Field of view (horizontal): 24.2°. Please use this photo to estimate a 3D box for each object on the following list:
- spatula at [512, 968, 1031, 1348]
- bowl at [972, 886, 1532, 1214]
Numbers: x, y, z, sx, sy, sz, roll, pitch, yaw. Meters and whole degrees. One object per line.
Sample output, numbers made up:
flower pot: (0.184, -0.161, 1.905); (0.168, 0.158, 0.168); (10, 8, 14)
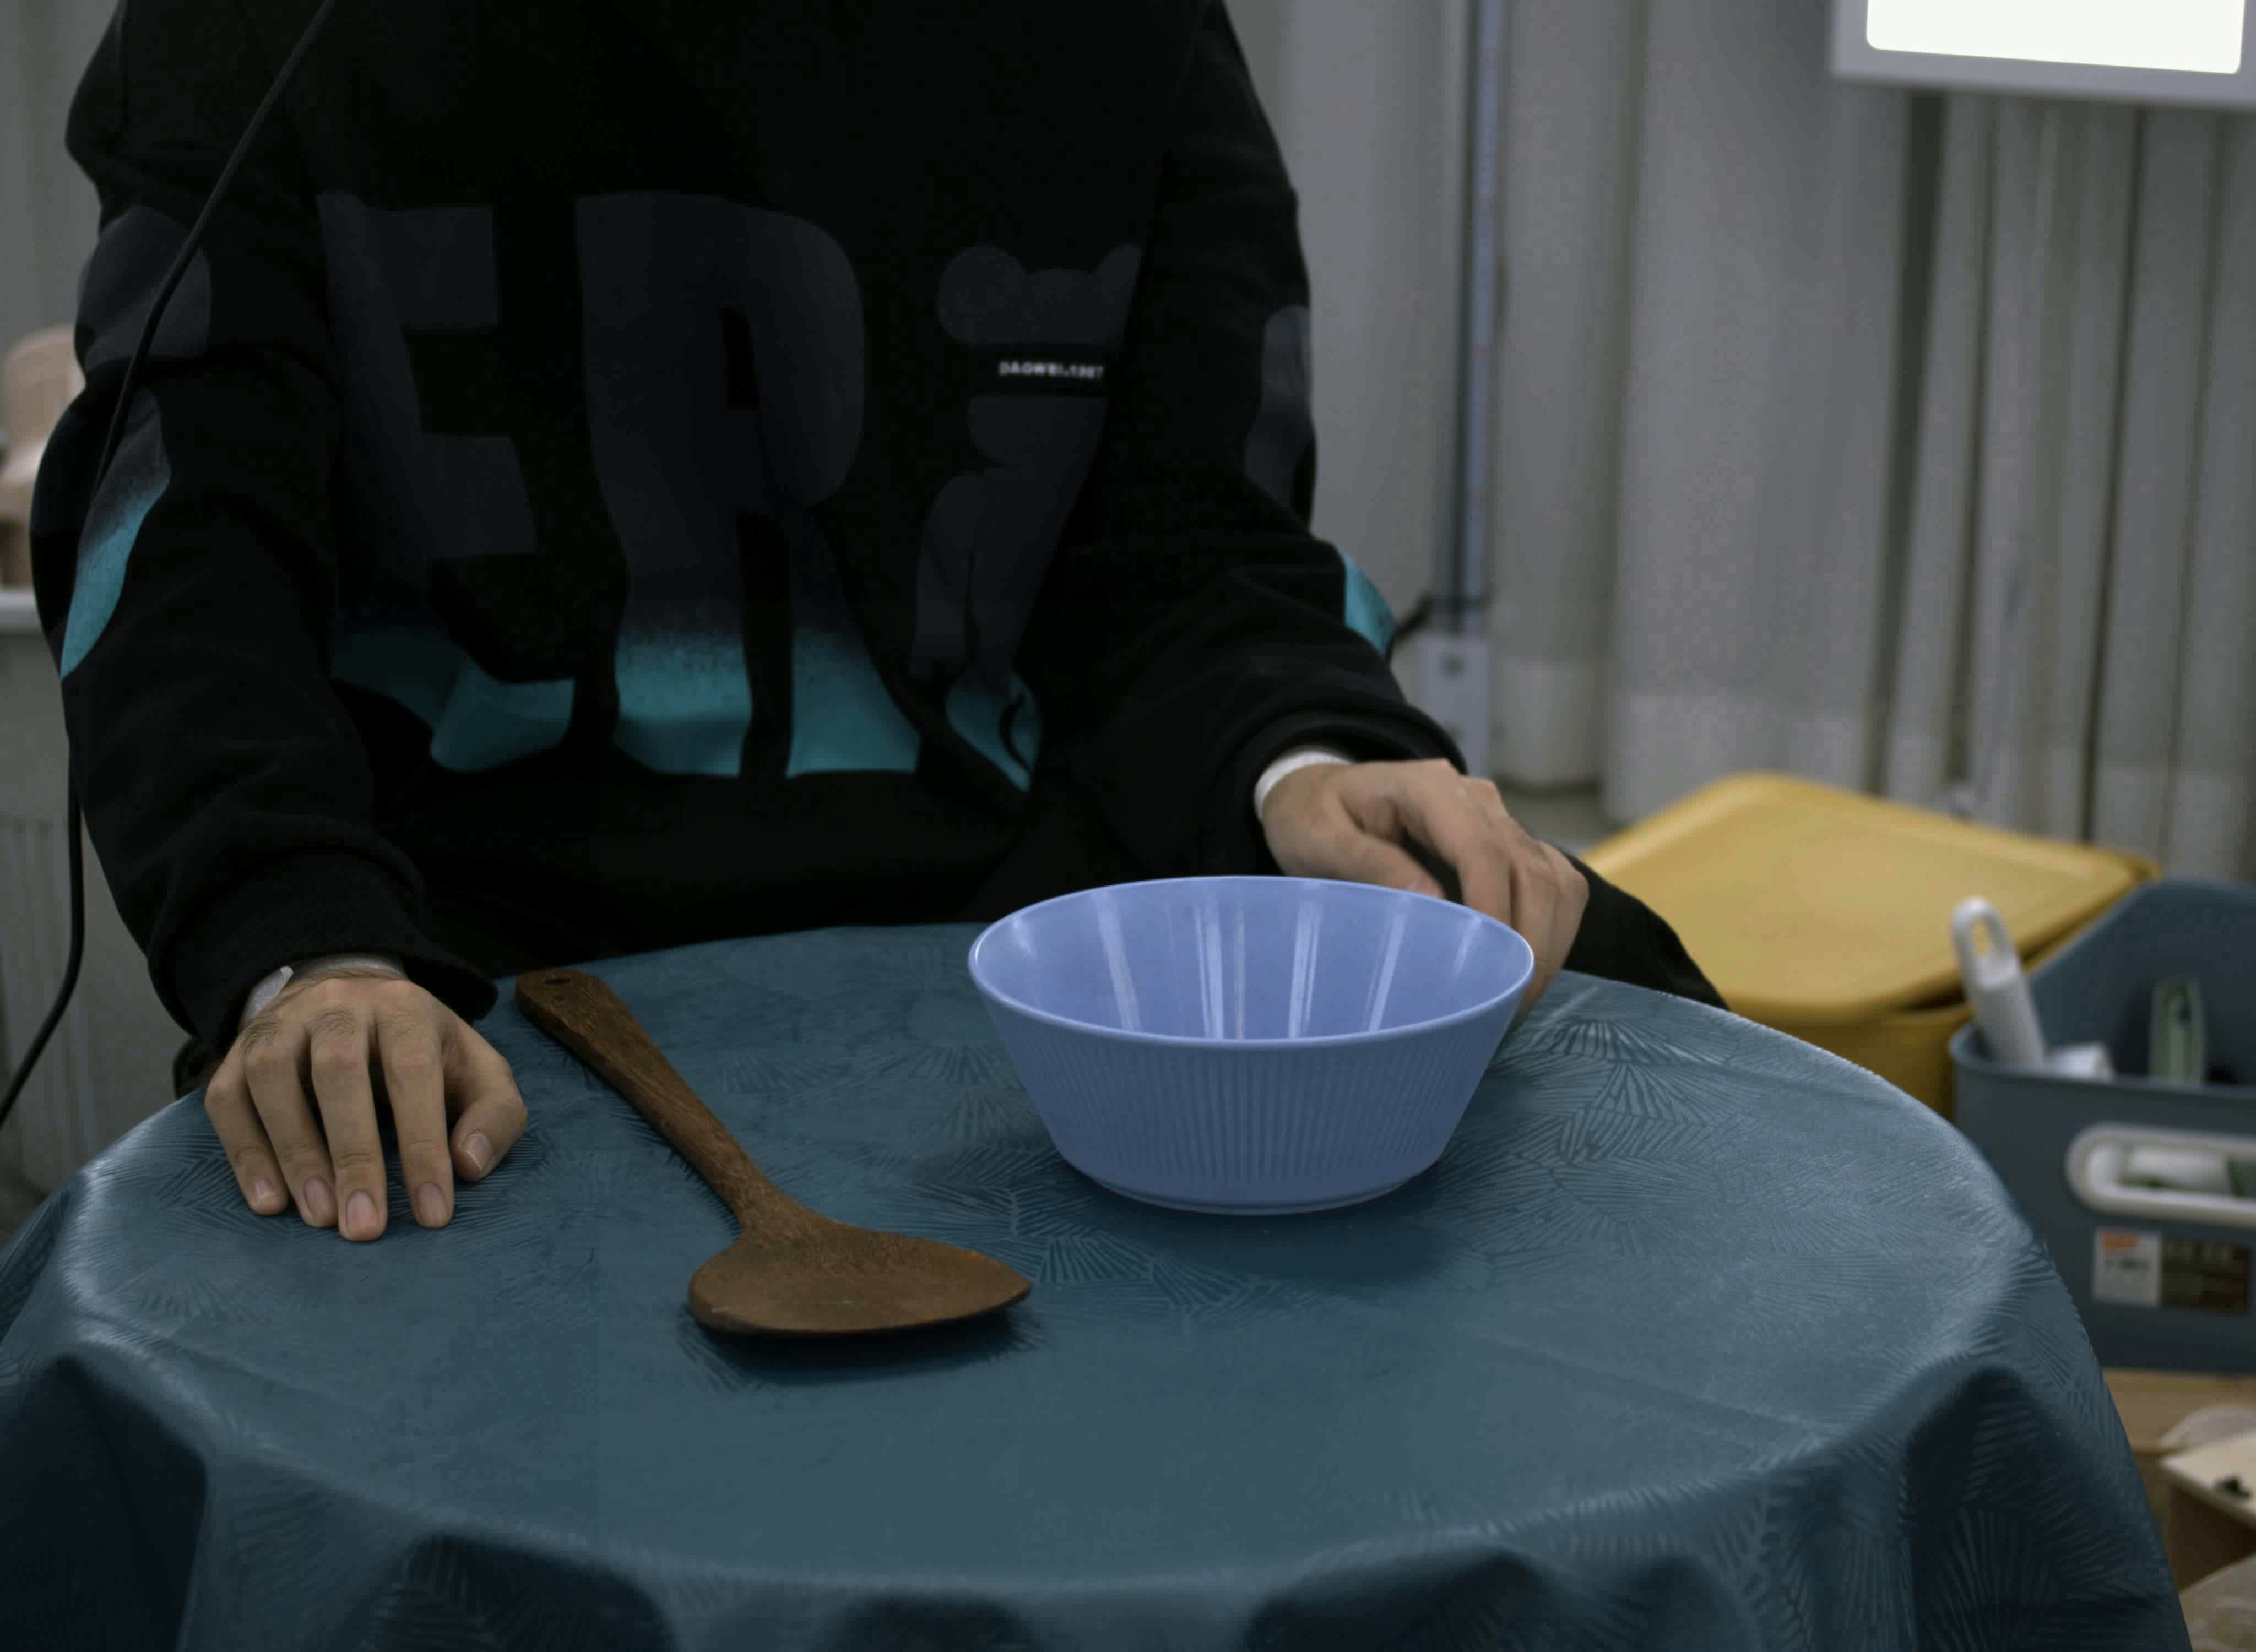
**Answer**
spatula: (-0.134, 0.098, 1.649); (0.096, 0.016, 0.381); (-5, 17, -21)
bowl: (0.039, 0.072, 1.645); (0.175, 0.071, 0.175); (0, 15, 0)
